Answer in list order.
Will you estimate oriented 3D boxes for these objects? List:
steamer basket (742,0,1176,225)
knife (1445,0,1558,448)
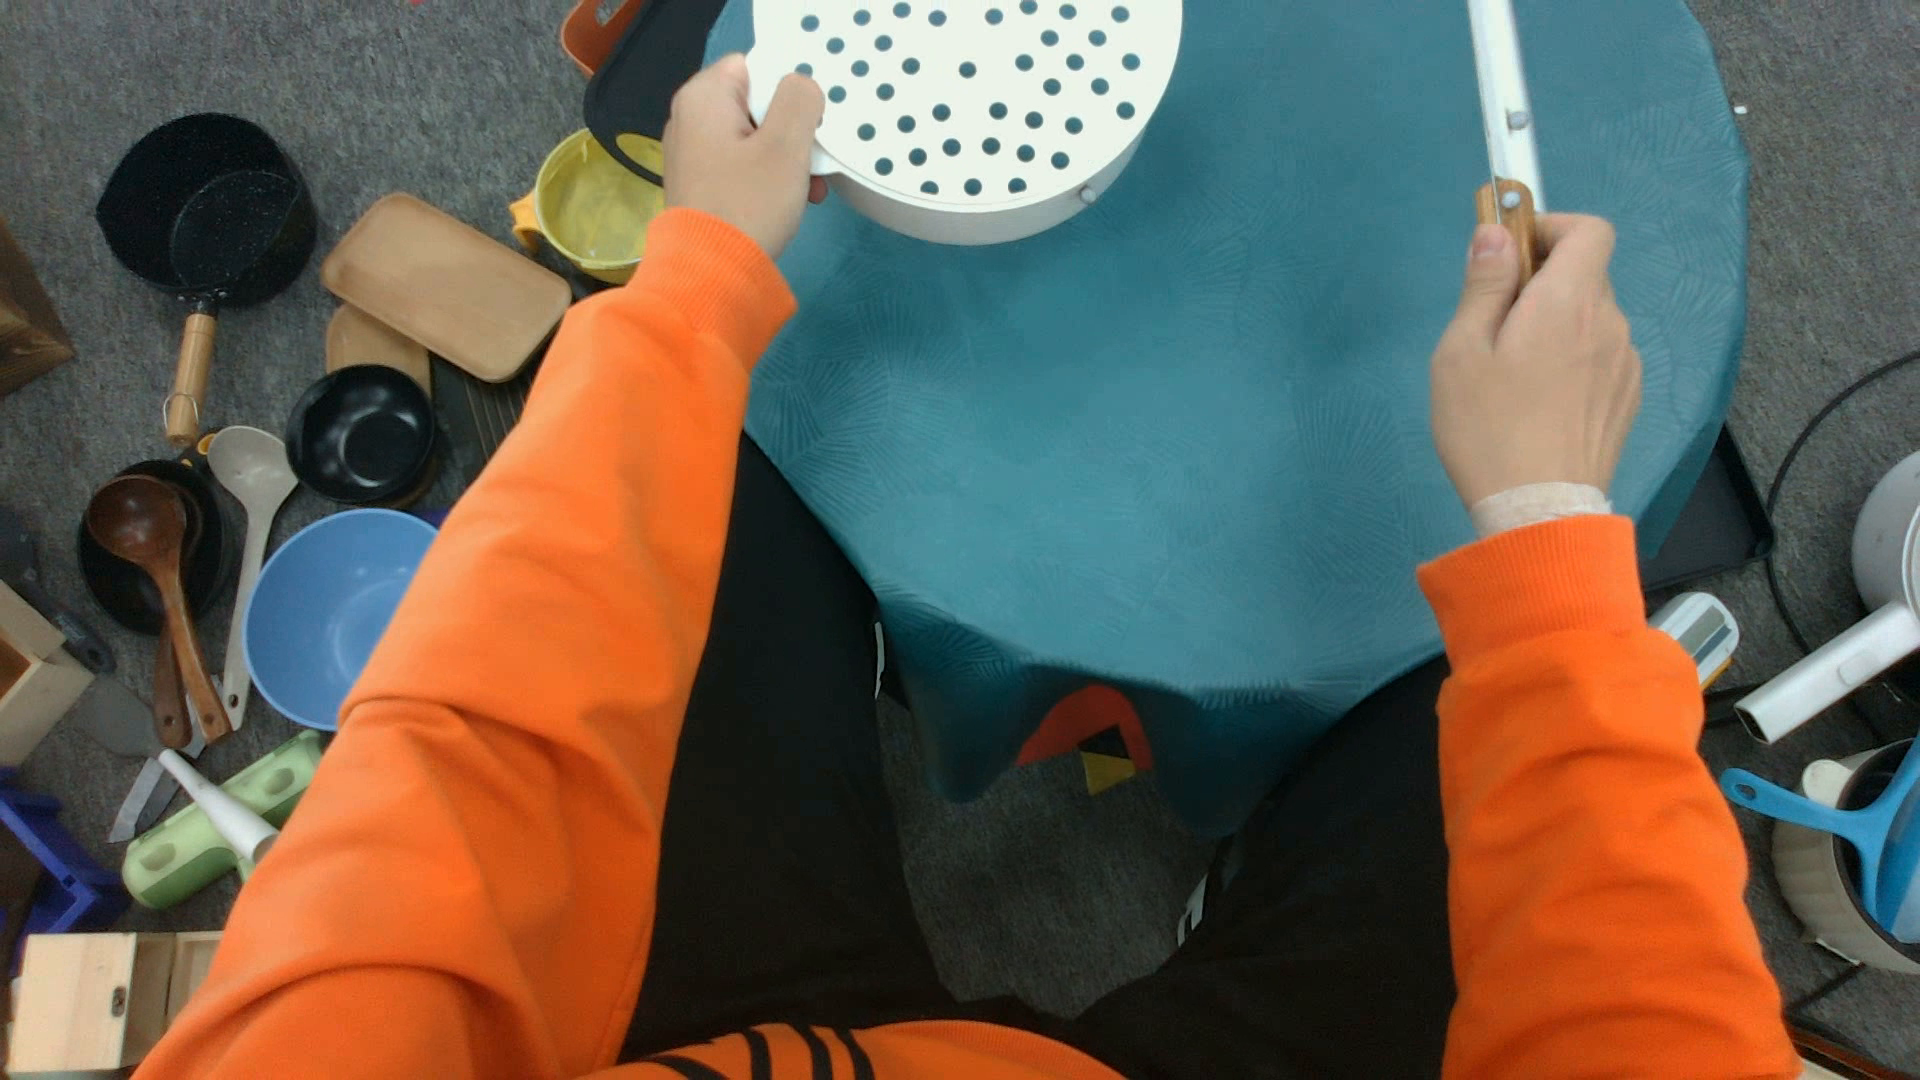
[{"bbox_3d":[0.002,-0.257,0.685,0.231,0.069,0.202,-33,82,-8],"label":"steamer basket"},{"bbox_3d":[0.248,-0.196,0.637,0.021,0.093,0.305,-8,92,40],"label":"knife"}]
